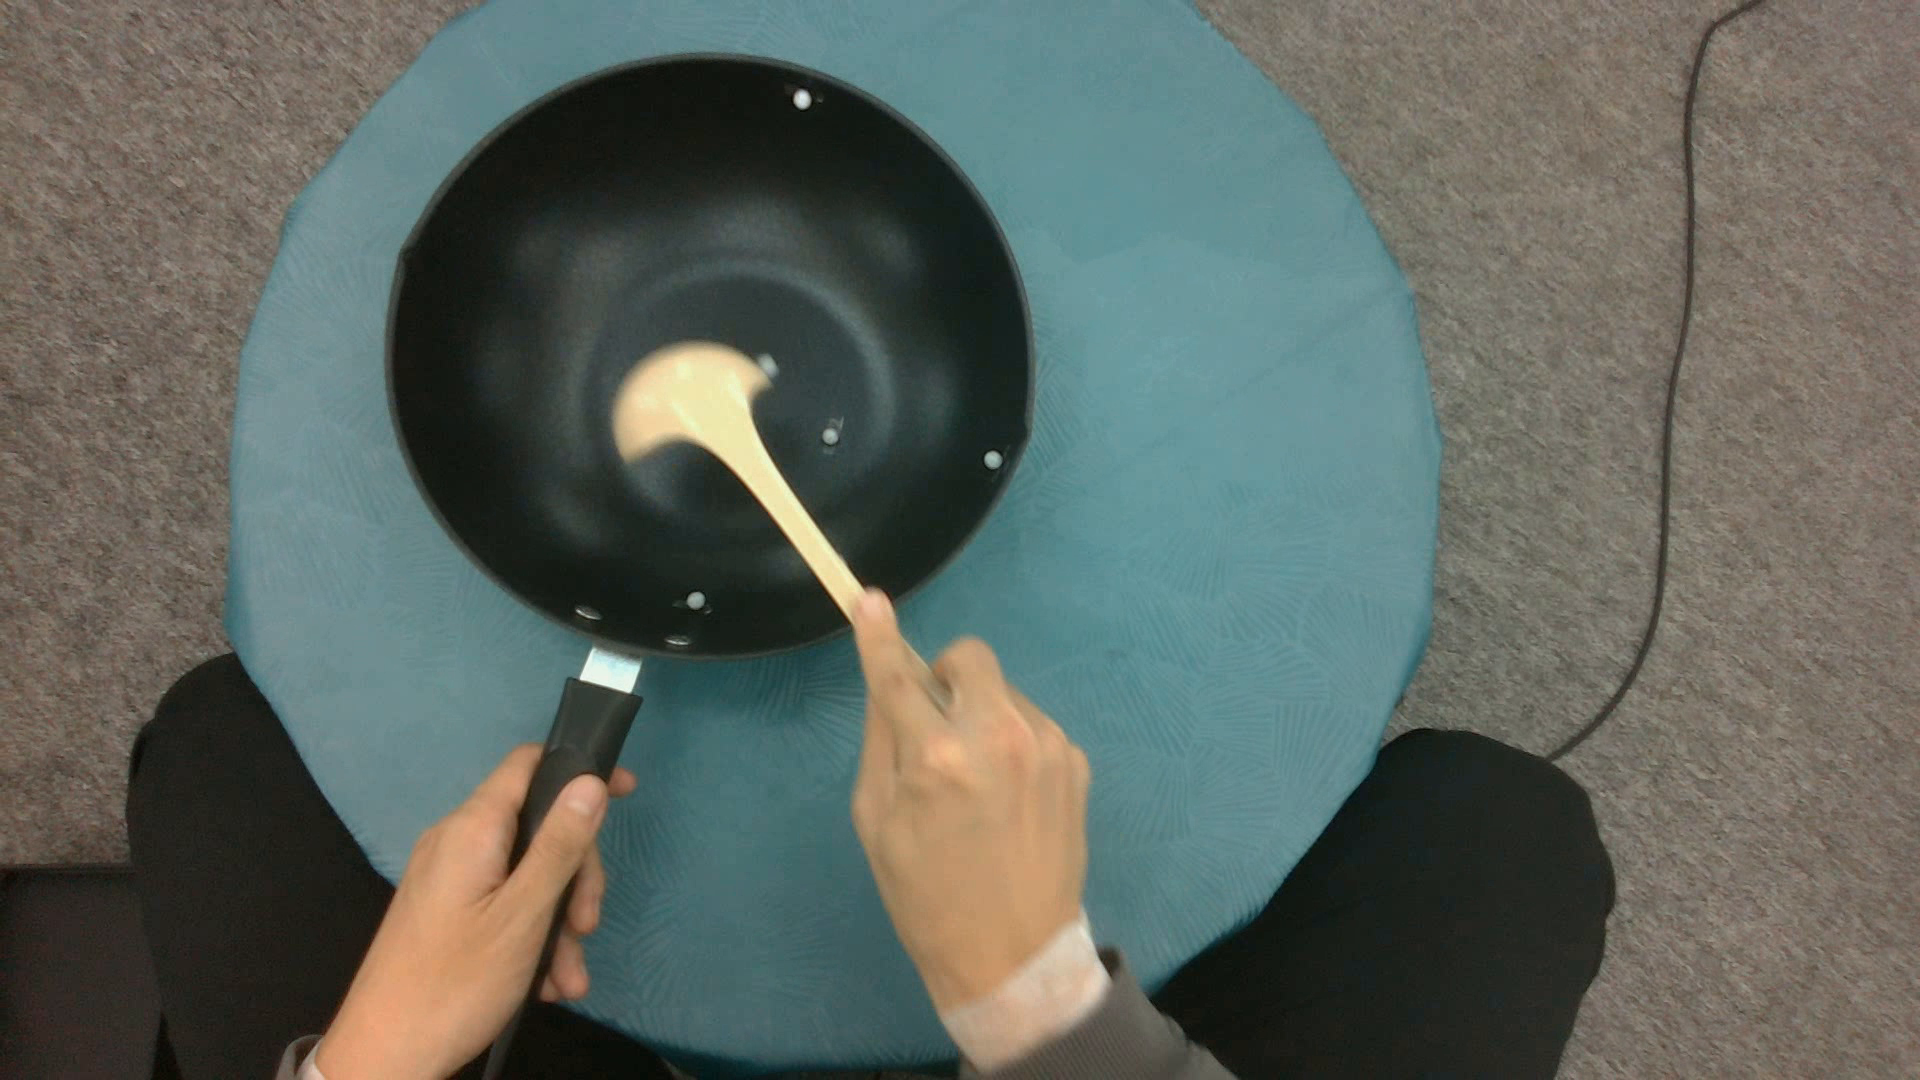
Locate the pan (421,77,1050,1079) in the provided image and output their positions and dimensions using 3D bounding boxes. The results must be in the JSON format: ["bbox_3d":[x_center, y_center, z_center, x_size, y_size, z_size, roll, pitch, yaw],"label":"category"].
[{"bbox_3d":[-0.129,0.011,0.642,0.288,0.086,0.464,17,78,0],"label":"pan"}]

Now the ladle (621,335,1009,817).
[{"bbox_3d":[-0.061,0.019,0.590,0.072,0.072,0.255,-30,74,-20],"label":"ladle"}]
